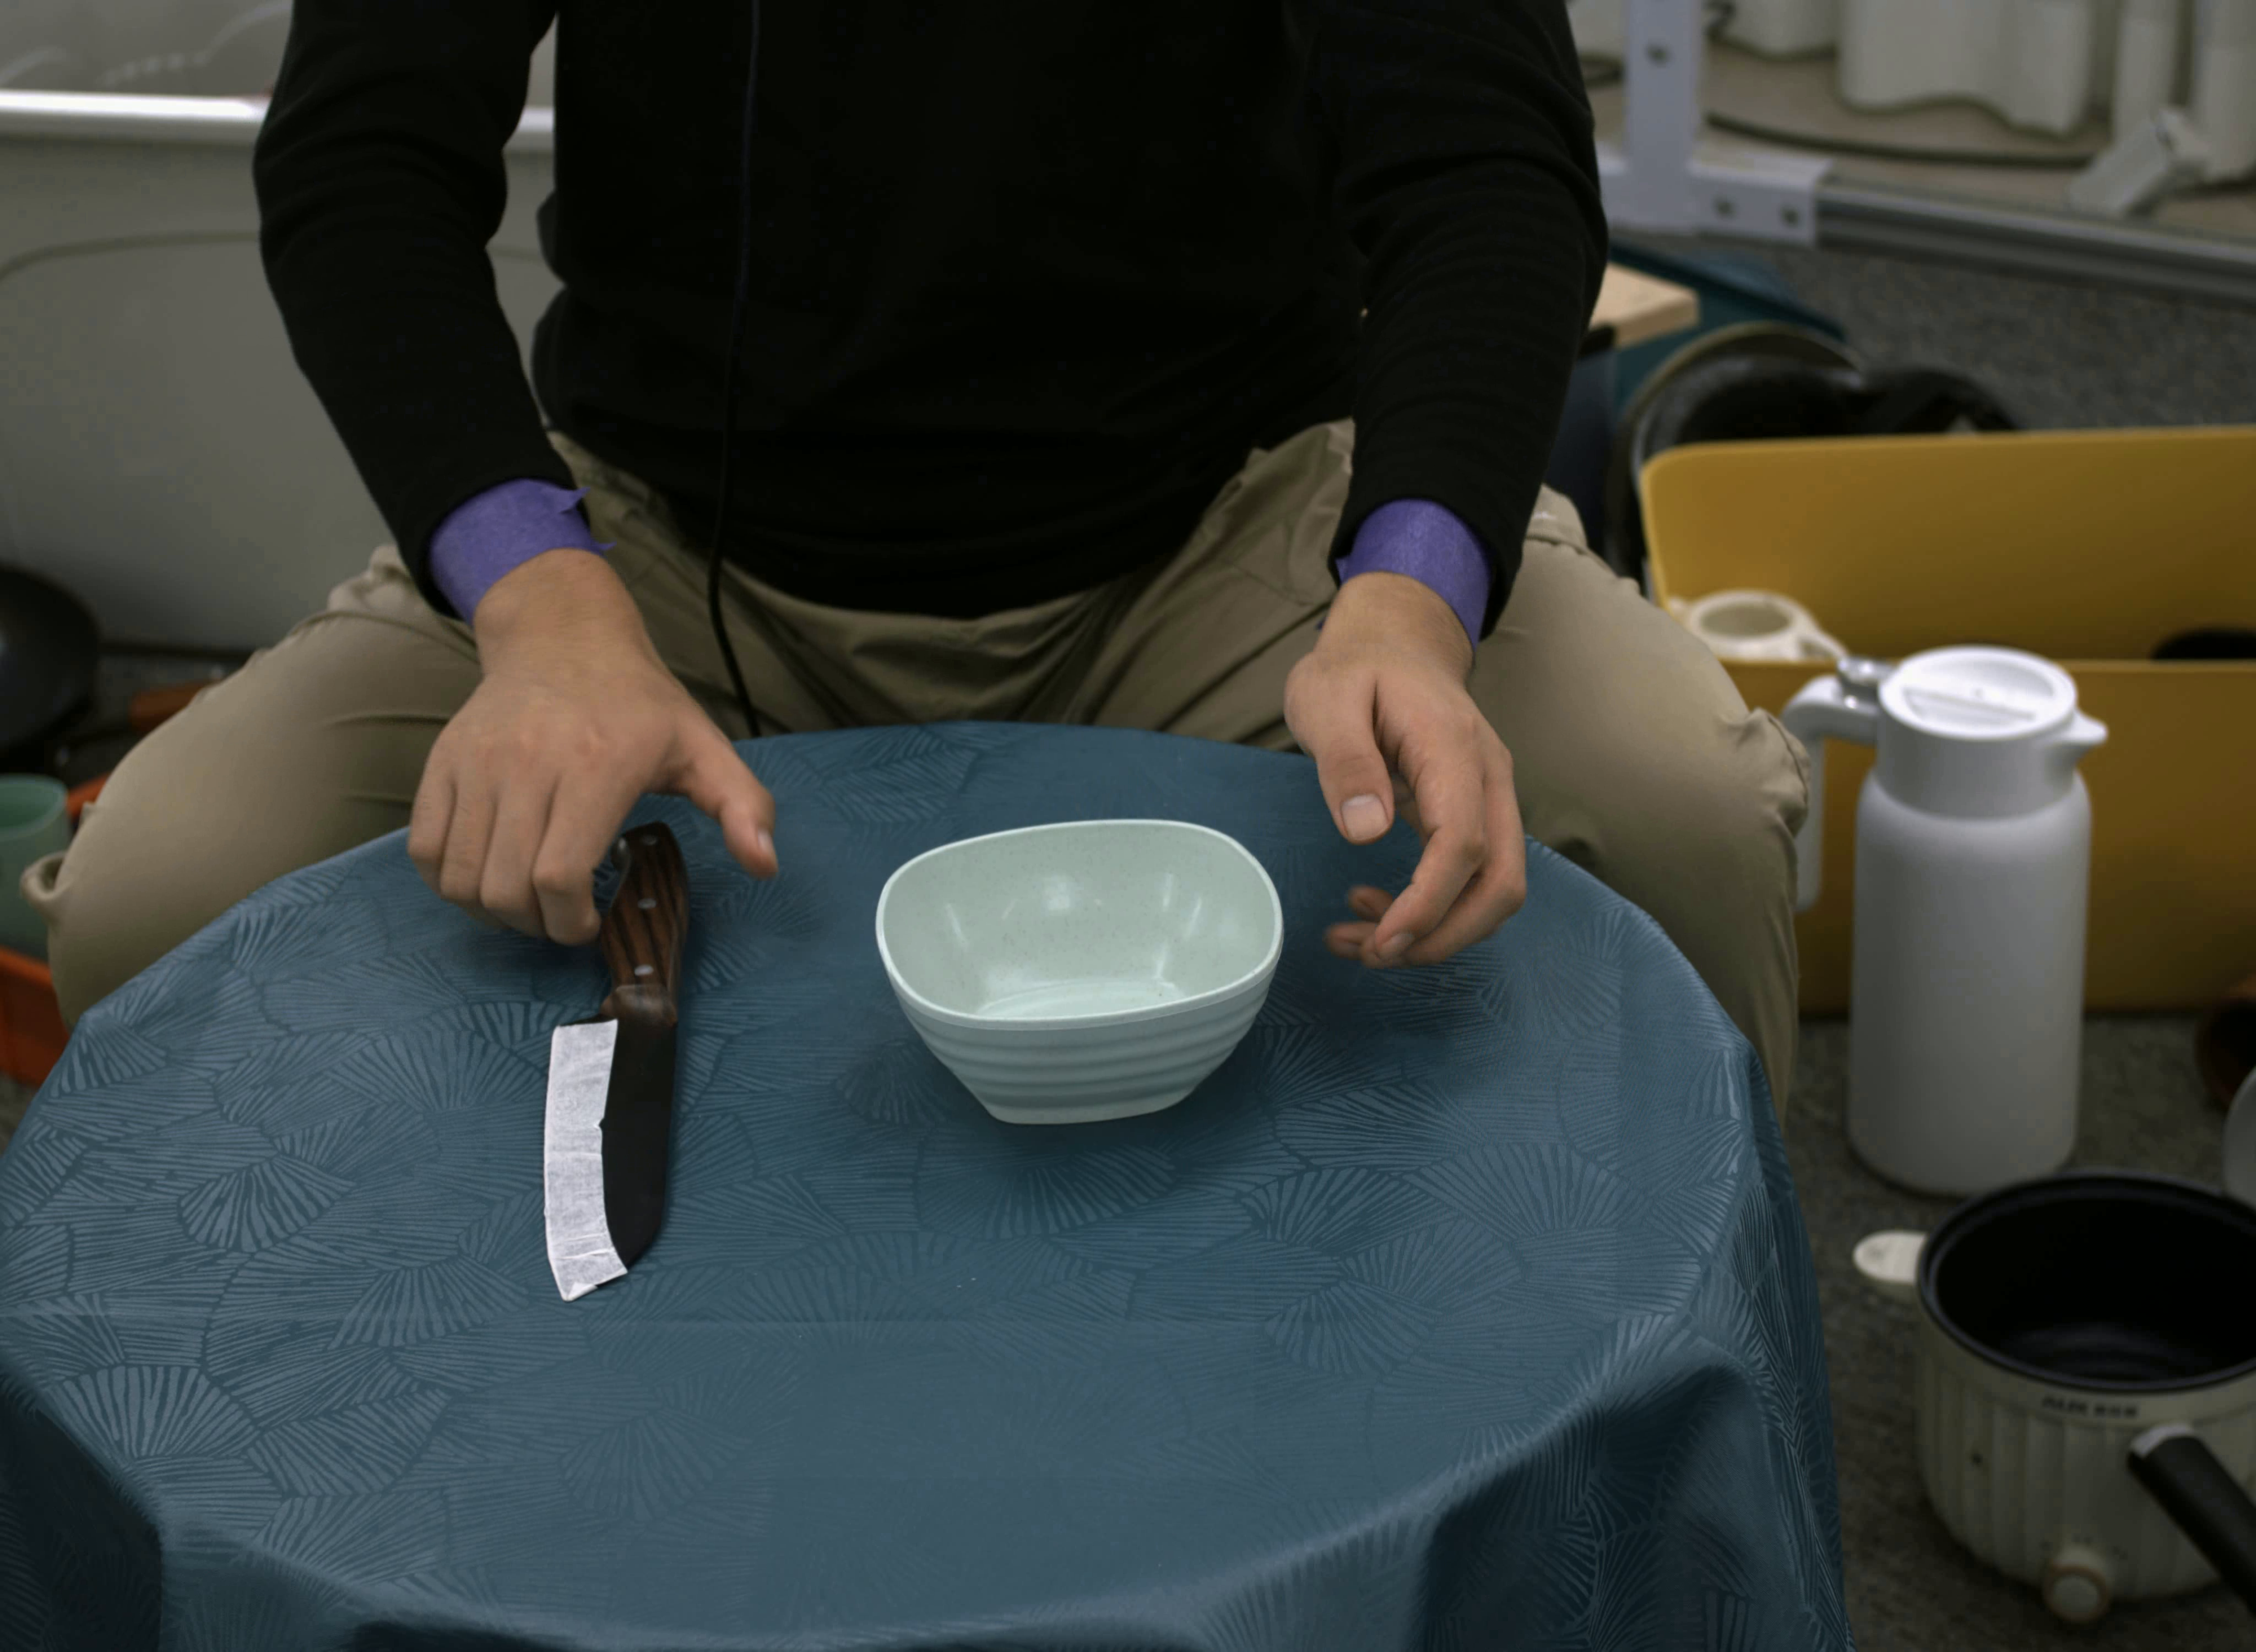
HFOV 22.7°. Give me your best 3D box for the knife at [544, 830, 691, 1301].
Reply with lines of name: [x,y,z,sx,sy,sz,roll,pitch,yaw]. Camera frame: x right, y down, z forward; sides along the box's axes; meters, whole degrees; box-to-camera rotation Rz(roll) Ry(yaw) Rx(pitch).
knife: [-0.175,0.081,1.939,0.050,0.020,0.294,-6,30,3]

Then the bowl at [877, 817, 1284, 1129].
bowl: [-0.015,0.056,1.927,0.151,0.058,0.154,-2,29,2]
